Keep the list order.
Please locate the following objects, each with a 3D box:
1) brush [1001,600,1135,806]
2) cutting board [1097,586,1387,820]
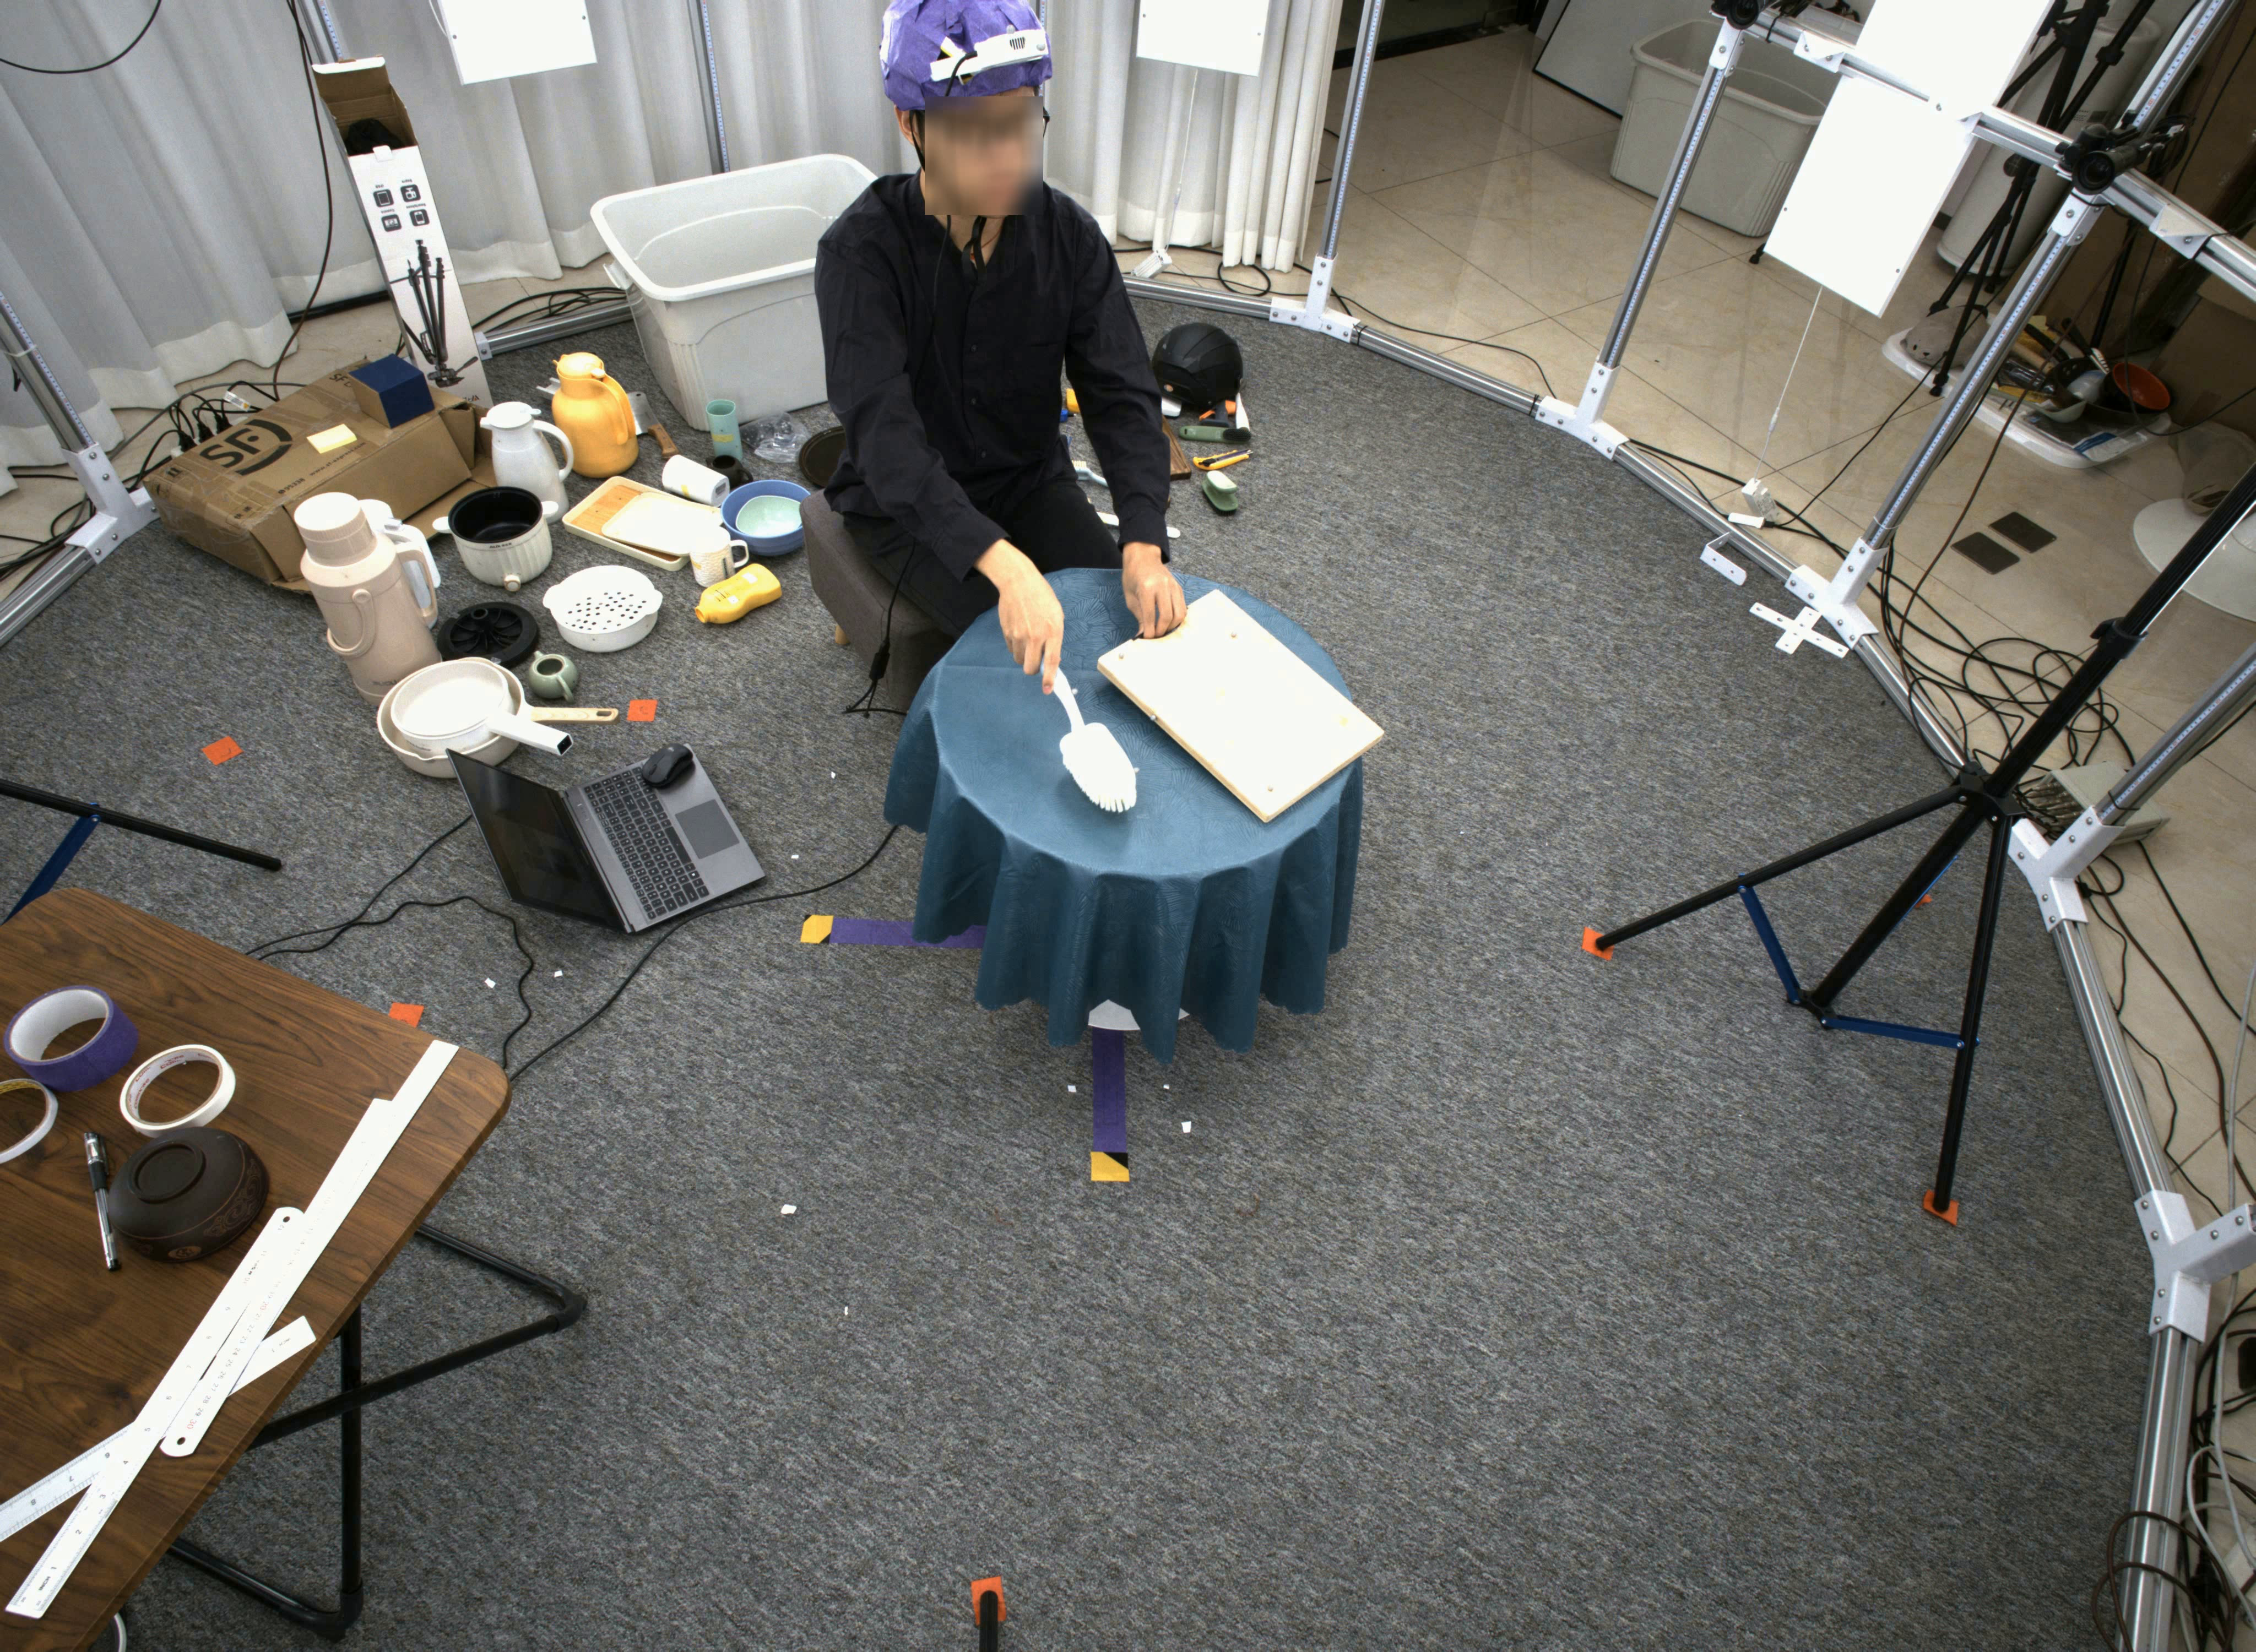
[{"bbox_3d":[-0.081,-0.161,1.710,0.083,0.083,0.330,-7,59,-50],"label":"brush"},{"bbox_3d":[0.159,-0.181,1.806,0.253,0.023,0.353,-35,65,-30],"label":"cutting board"}]
